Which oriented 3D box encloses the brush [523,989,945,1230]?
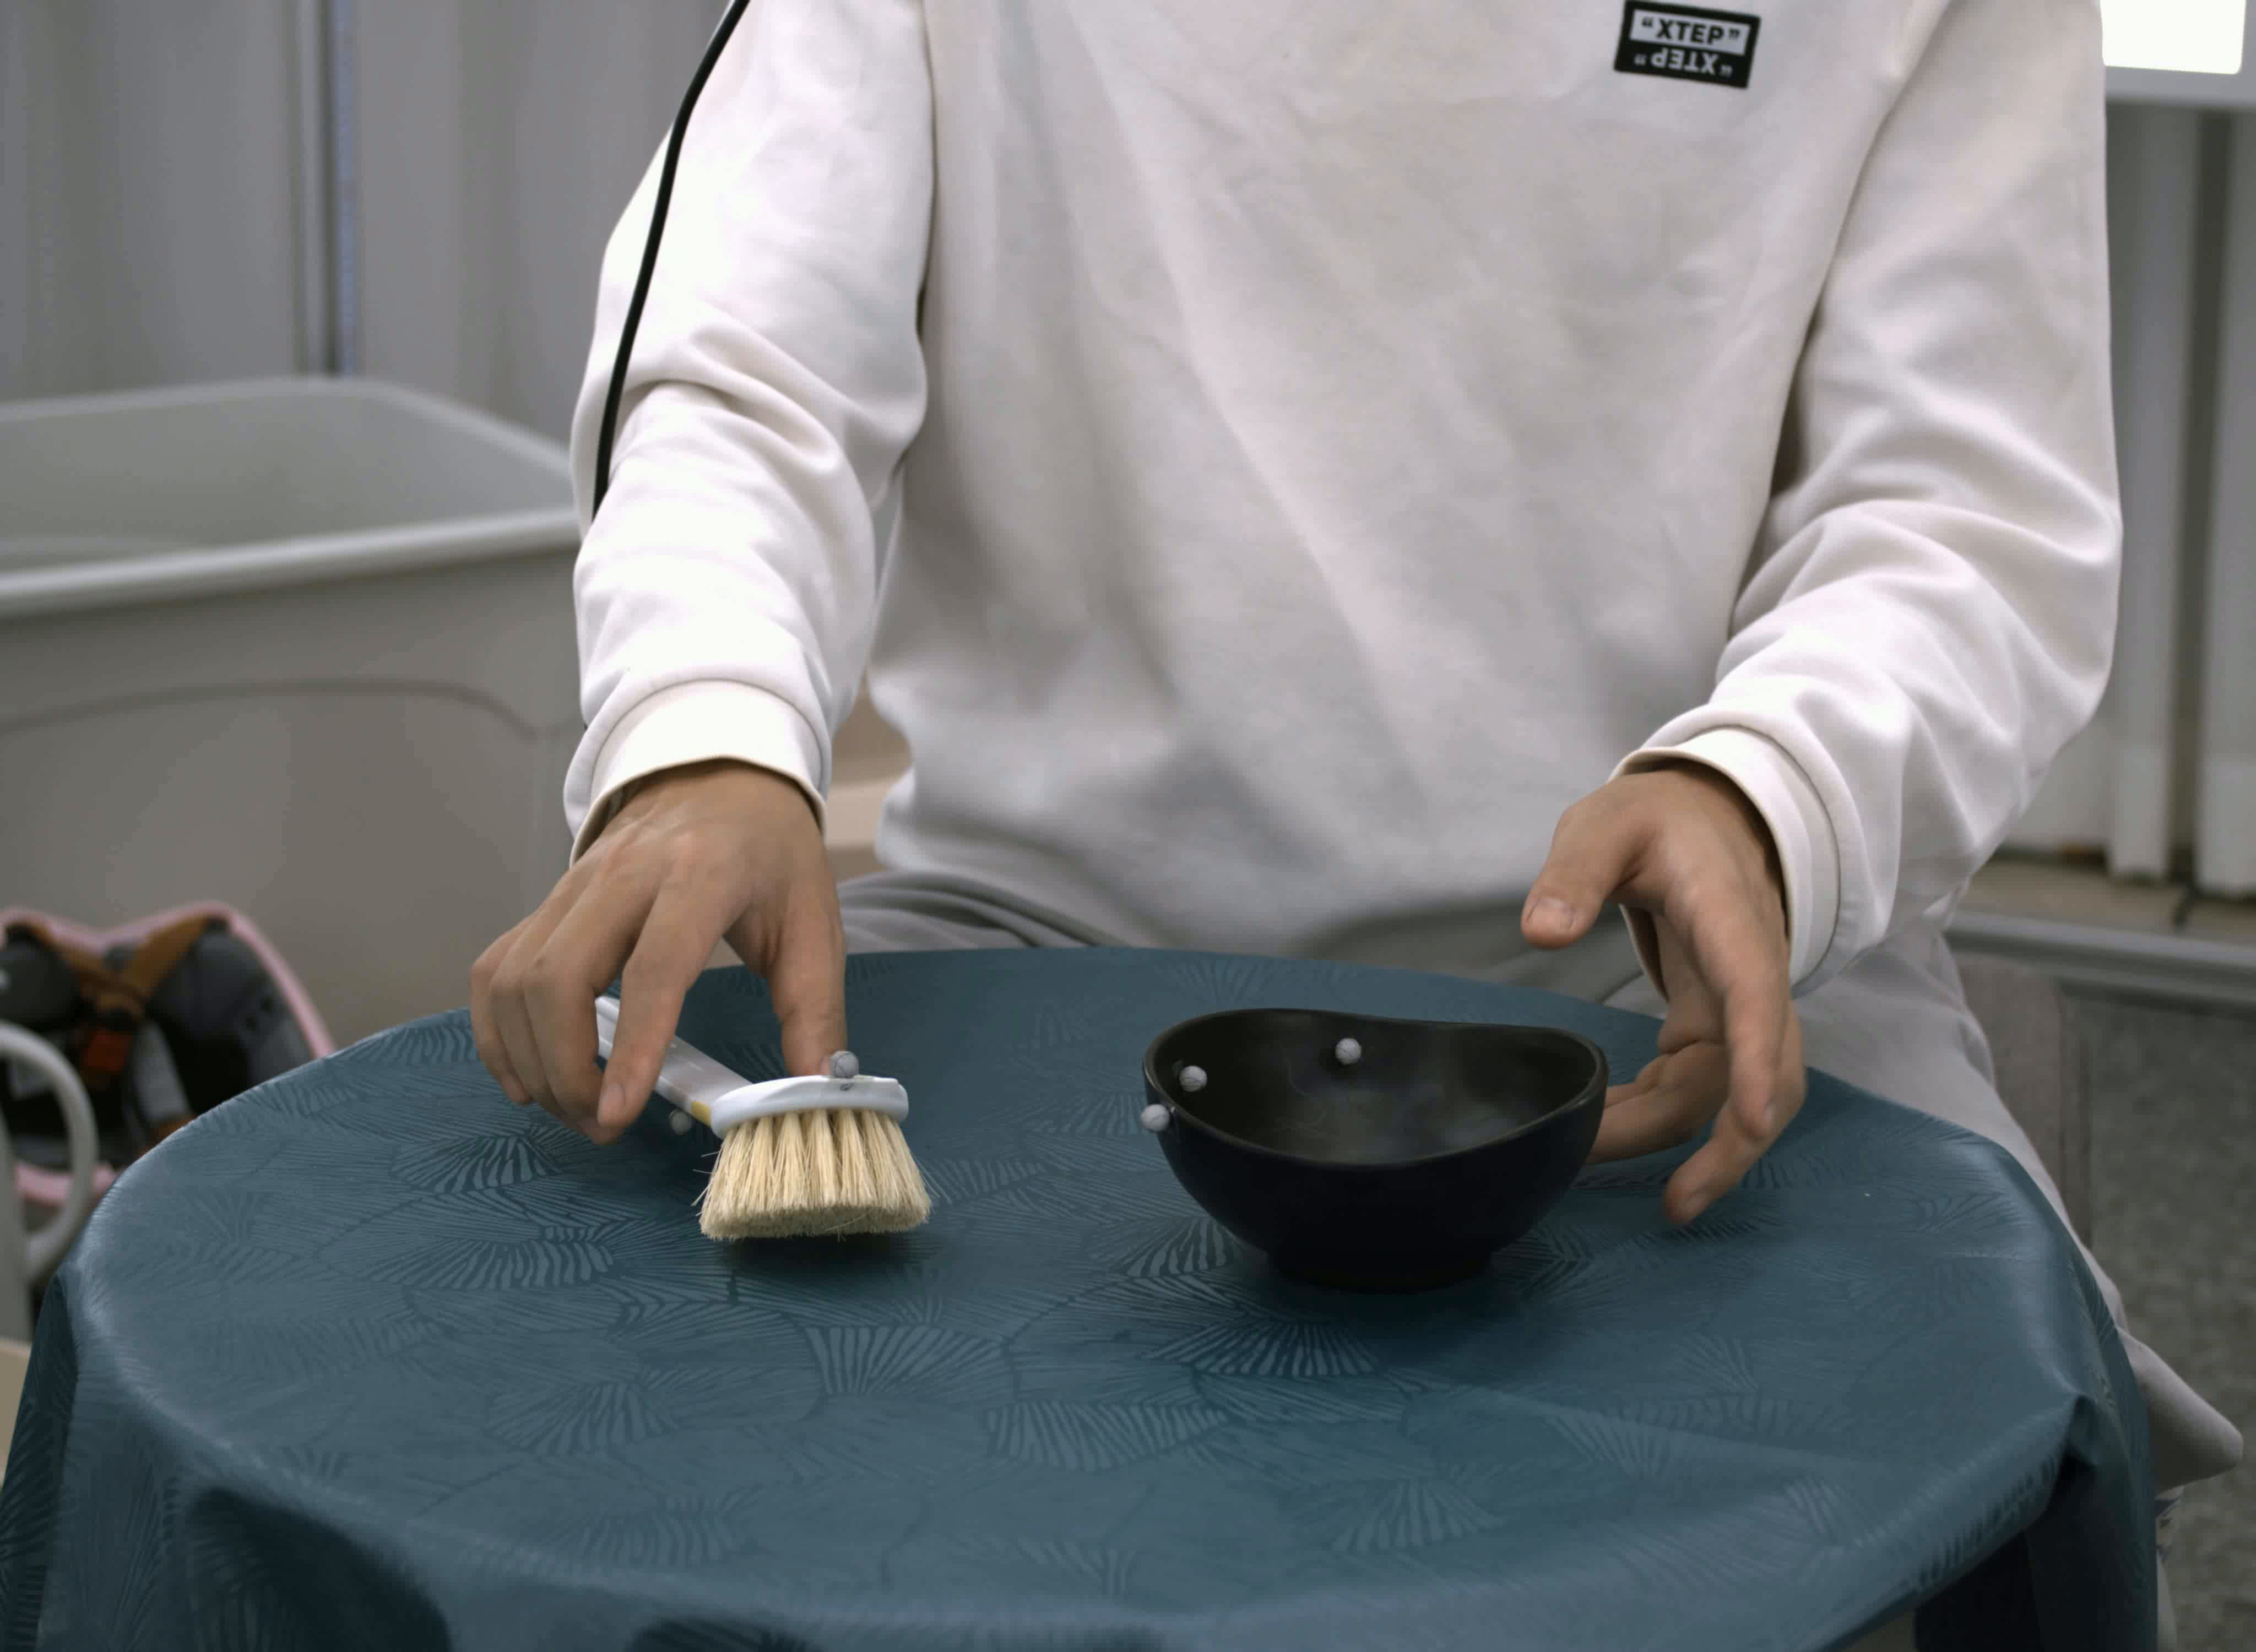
[{"bbox_3d":[-0.133,0.089,1.659,0.069,0.056,0.264,8,-1,-29],"label":"brush"}]

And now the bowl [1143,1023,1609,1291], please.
[{"bbox_3d":[0.073,0.098,1.566,0.136,0.067,0.170,4,13,10],"label":"bowl"}]
